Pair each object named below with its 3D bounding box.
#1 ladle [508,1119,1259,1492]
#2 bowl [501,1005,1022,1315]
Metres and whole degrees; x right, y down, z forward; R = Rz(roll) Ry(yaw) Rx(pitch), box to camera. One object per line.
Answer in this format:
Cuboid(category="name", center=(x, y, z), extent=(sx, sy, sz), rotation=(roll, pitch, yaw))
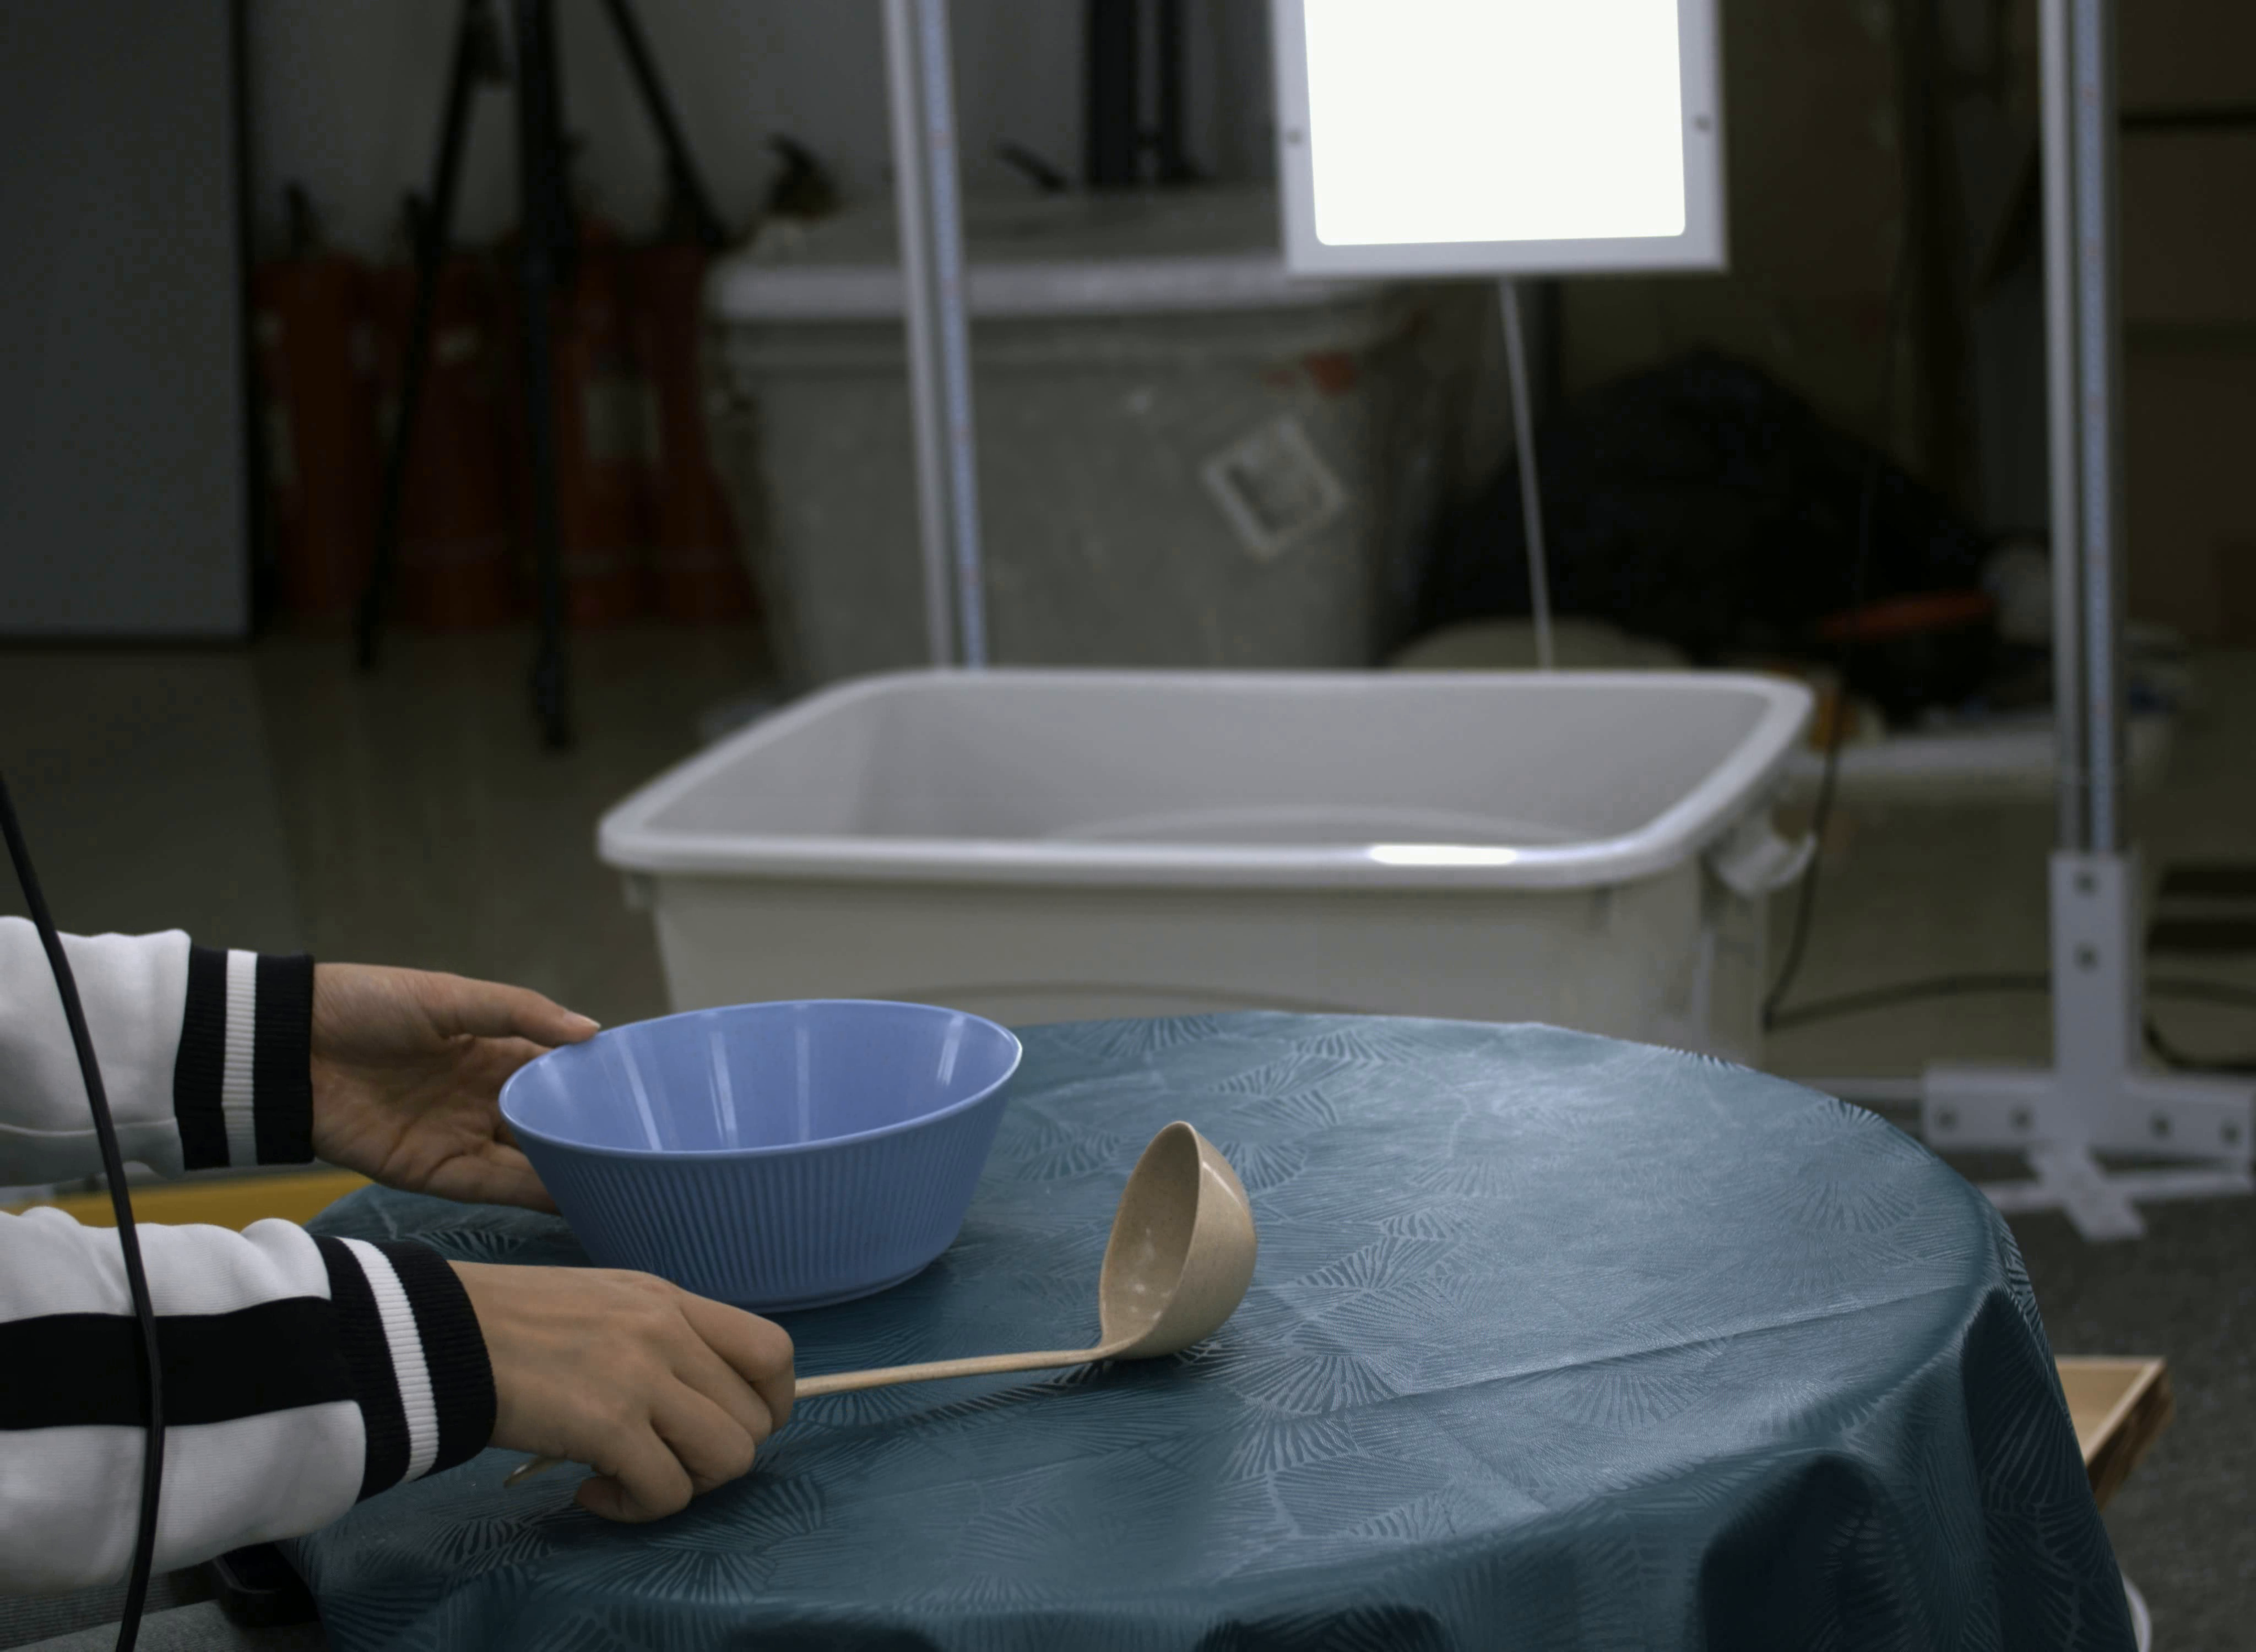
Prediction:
Cuboid(category="ladle", center=(-0.078, 0.144, 1.686), extent=(0.249, 0.073, 0.073), rotation=(-9, -5, -25))
Cuboid(category="bowl", center=(-0.120, 0.114, 1.846), extent=(0.175, 0.070, 0.176), rotation=(-5, 13, 0))
